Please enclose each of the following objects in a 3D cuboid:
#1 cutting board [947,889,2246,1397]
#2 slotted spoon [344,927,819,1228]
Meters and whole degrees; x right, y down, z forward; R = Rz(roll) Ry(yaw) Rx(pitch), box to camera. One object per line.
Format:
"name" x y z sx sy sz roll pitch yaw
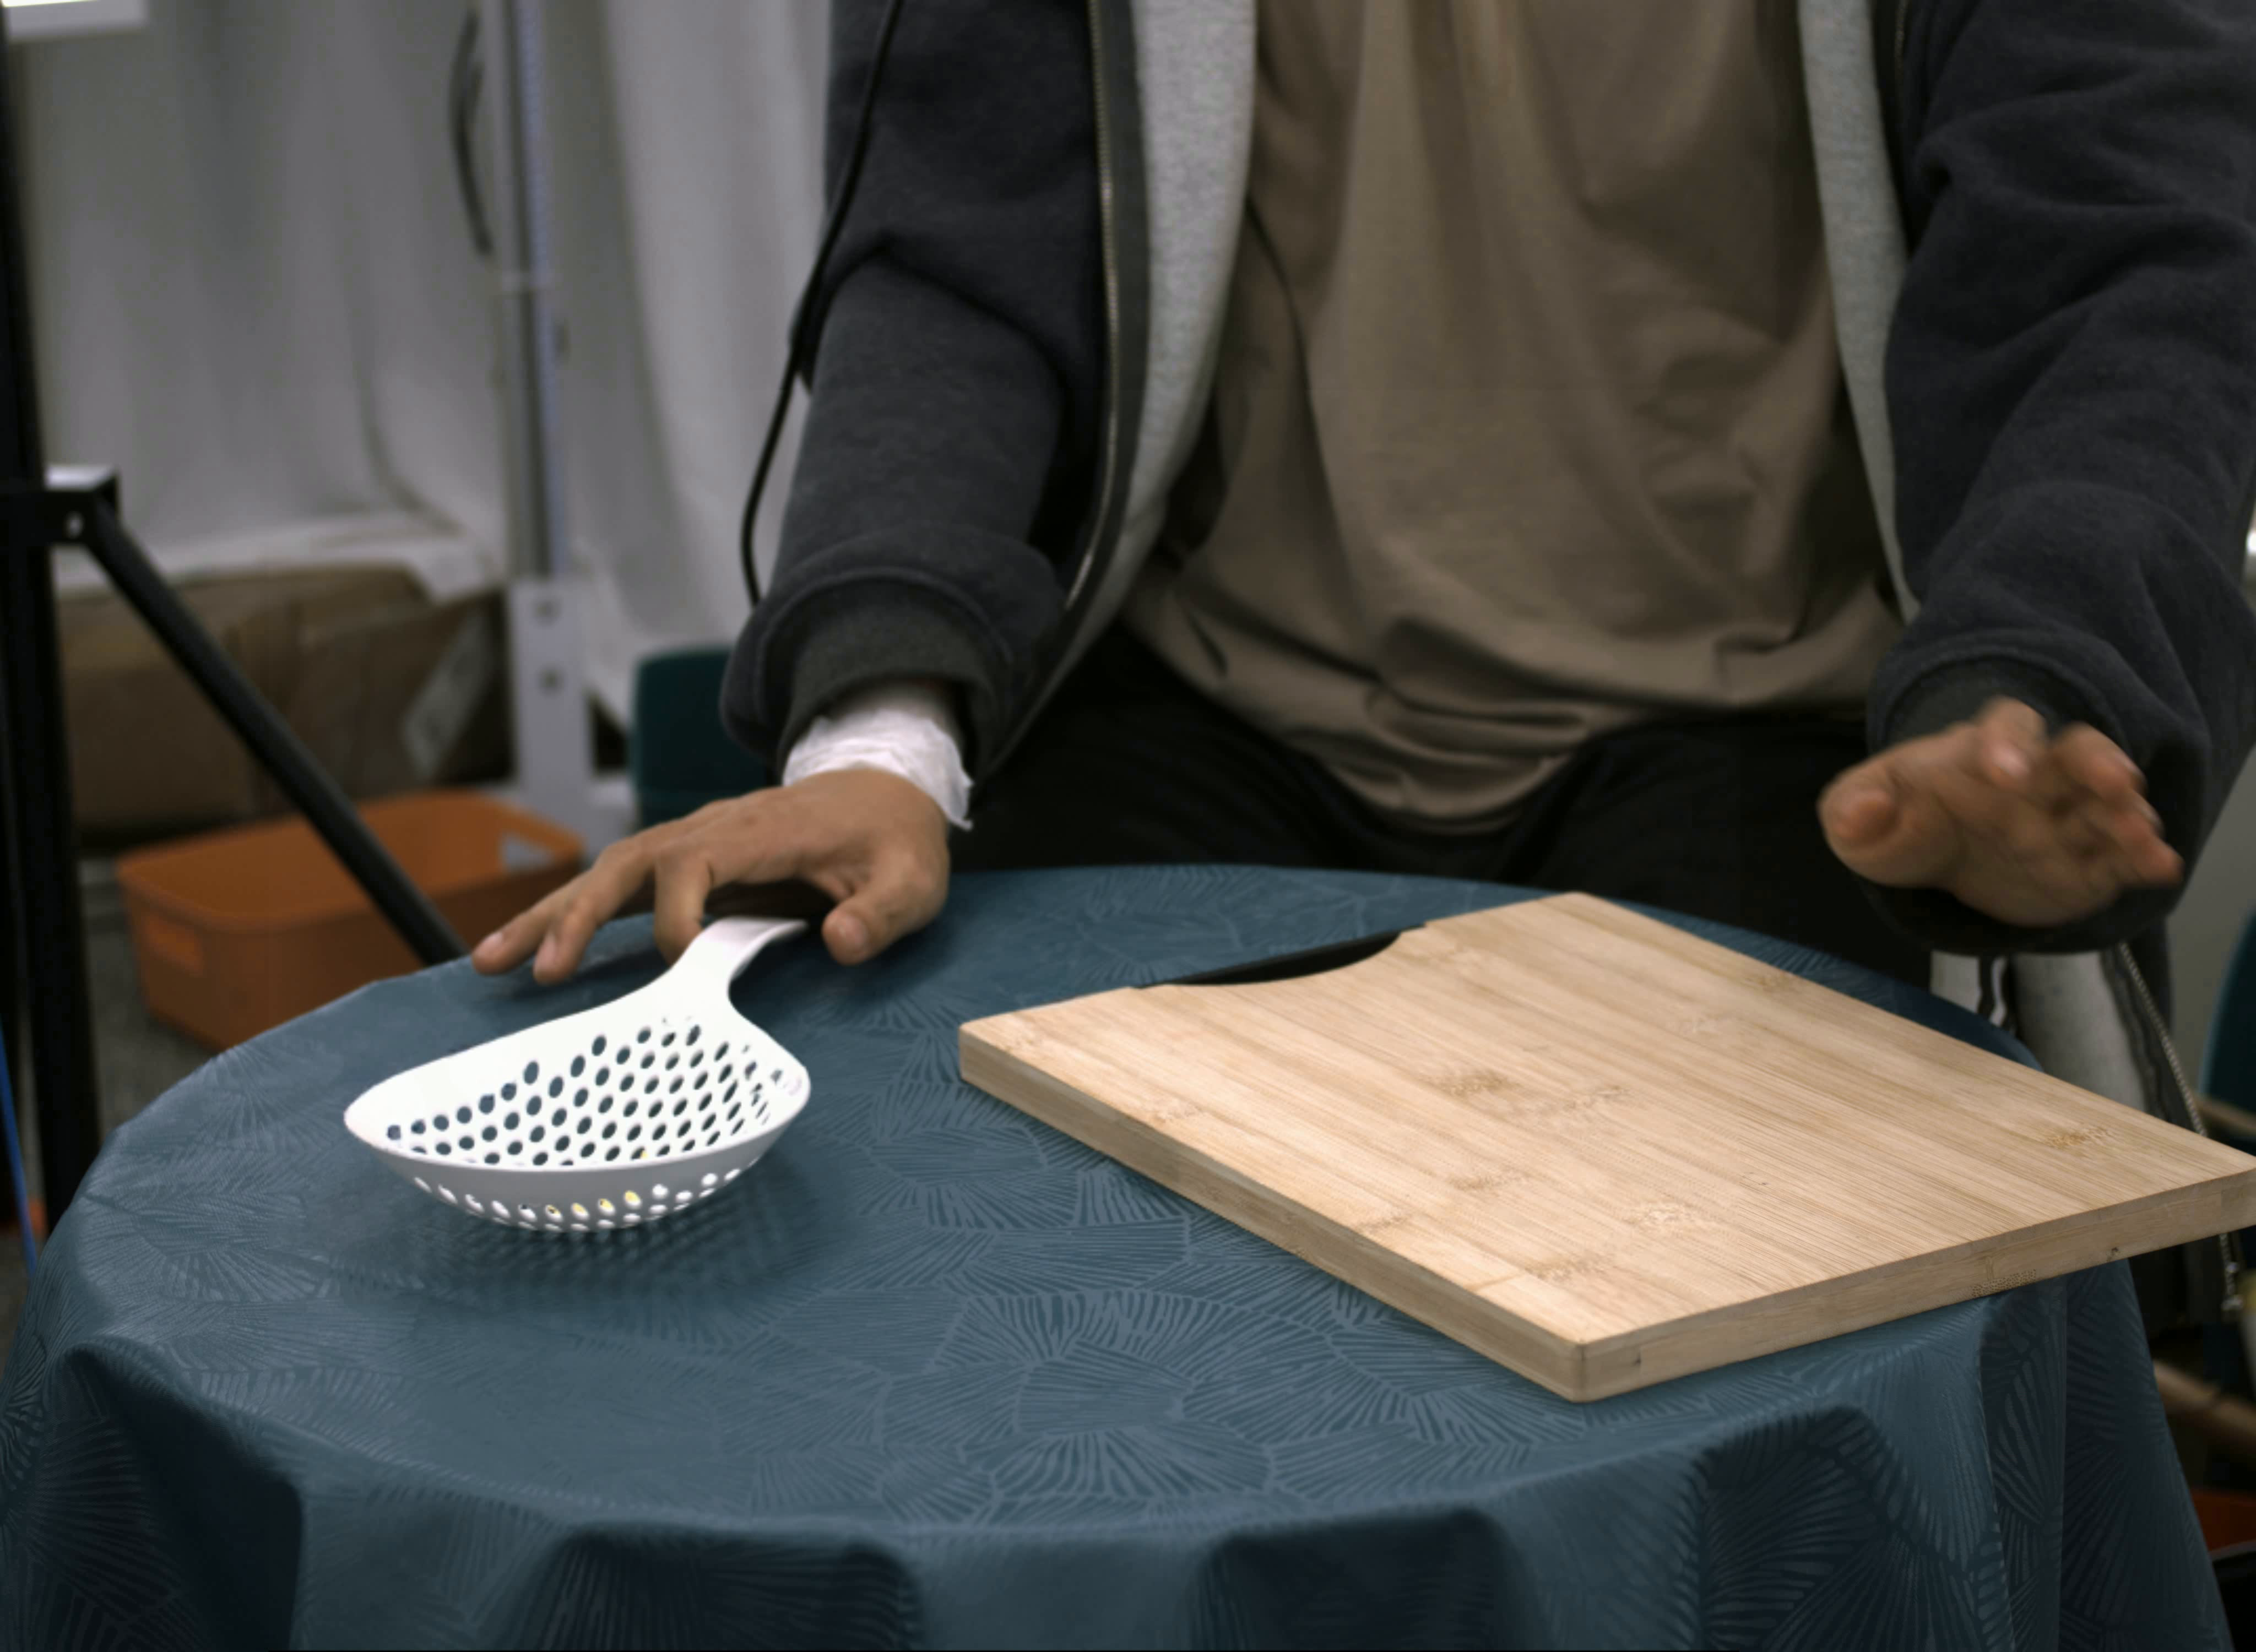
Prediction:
"cutting board" 0.132 0.087 1.582 0.245 0.023 0.356 -11 18 -29
"slotted spoon" -0.142 0.065 1.660 0.137 0.050 0.347 -1 16 9
